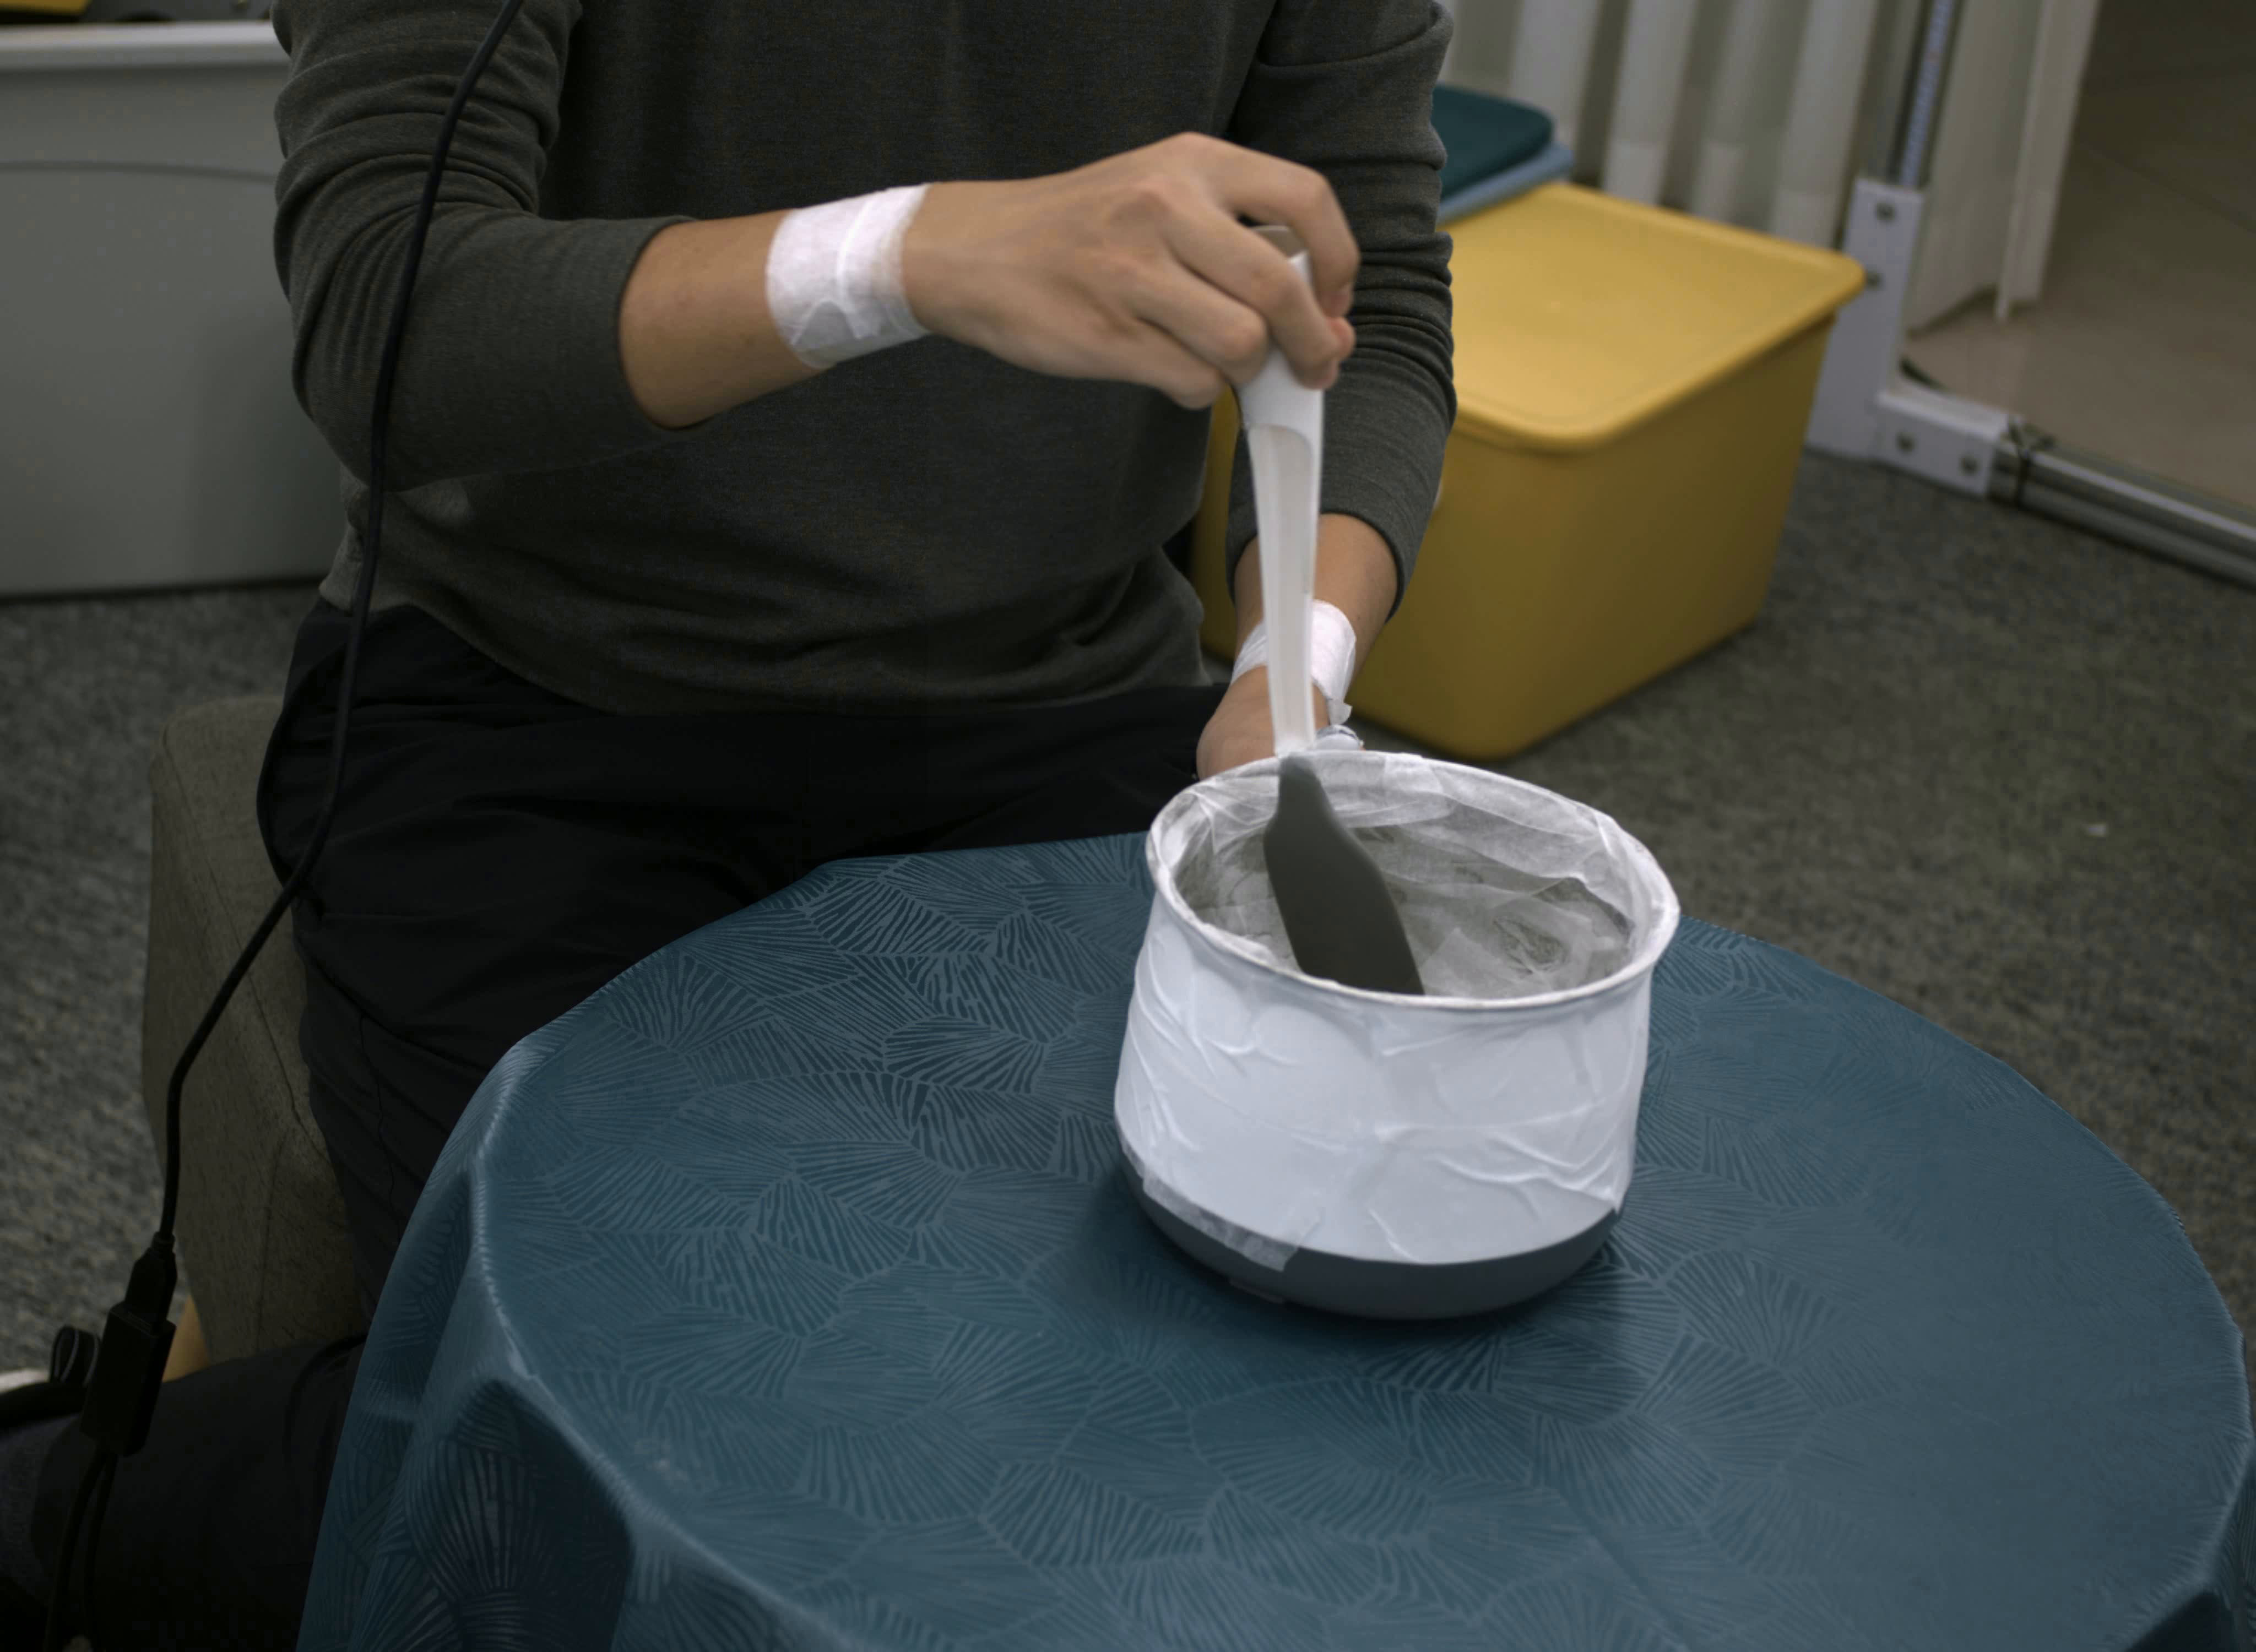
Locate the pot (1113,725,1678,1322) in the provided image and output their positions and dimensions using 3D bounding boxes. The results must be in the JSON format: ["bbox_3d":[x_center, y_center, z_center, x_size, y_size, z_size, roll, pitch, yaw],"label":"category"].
[{"bbox_3d":[0.080,0.059,1.801,0.178,0.136,0.235,-1,27,-15],"label":"pot"}]

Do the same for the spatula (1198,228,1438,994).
[{"bbox_3d":[0.058,-0.059,1.749,0.059,0.286,0.032,11,35,33],"label":"spatula"}]
